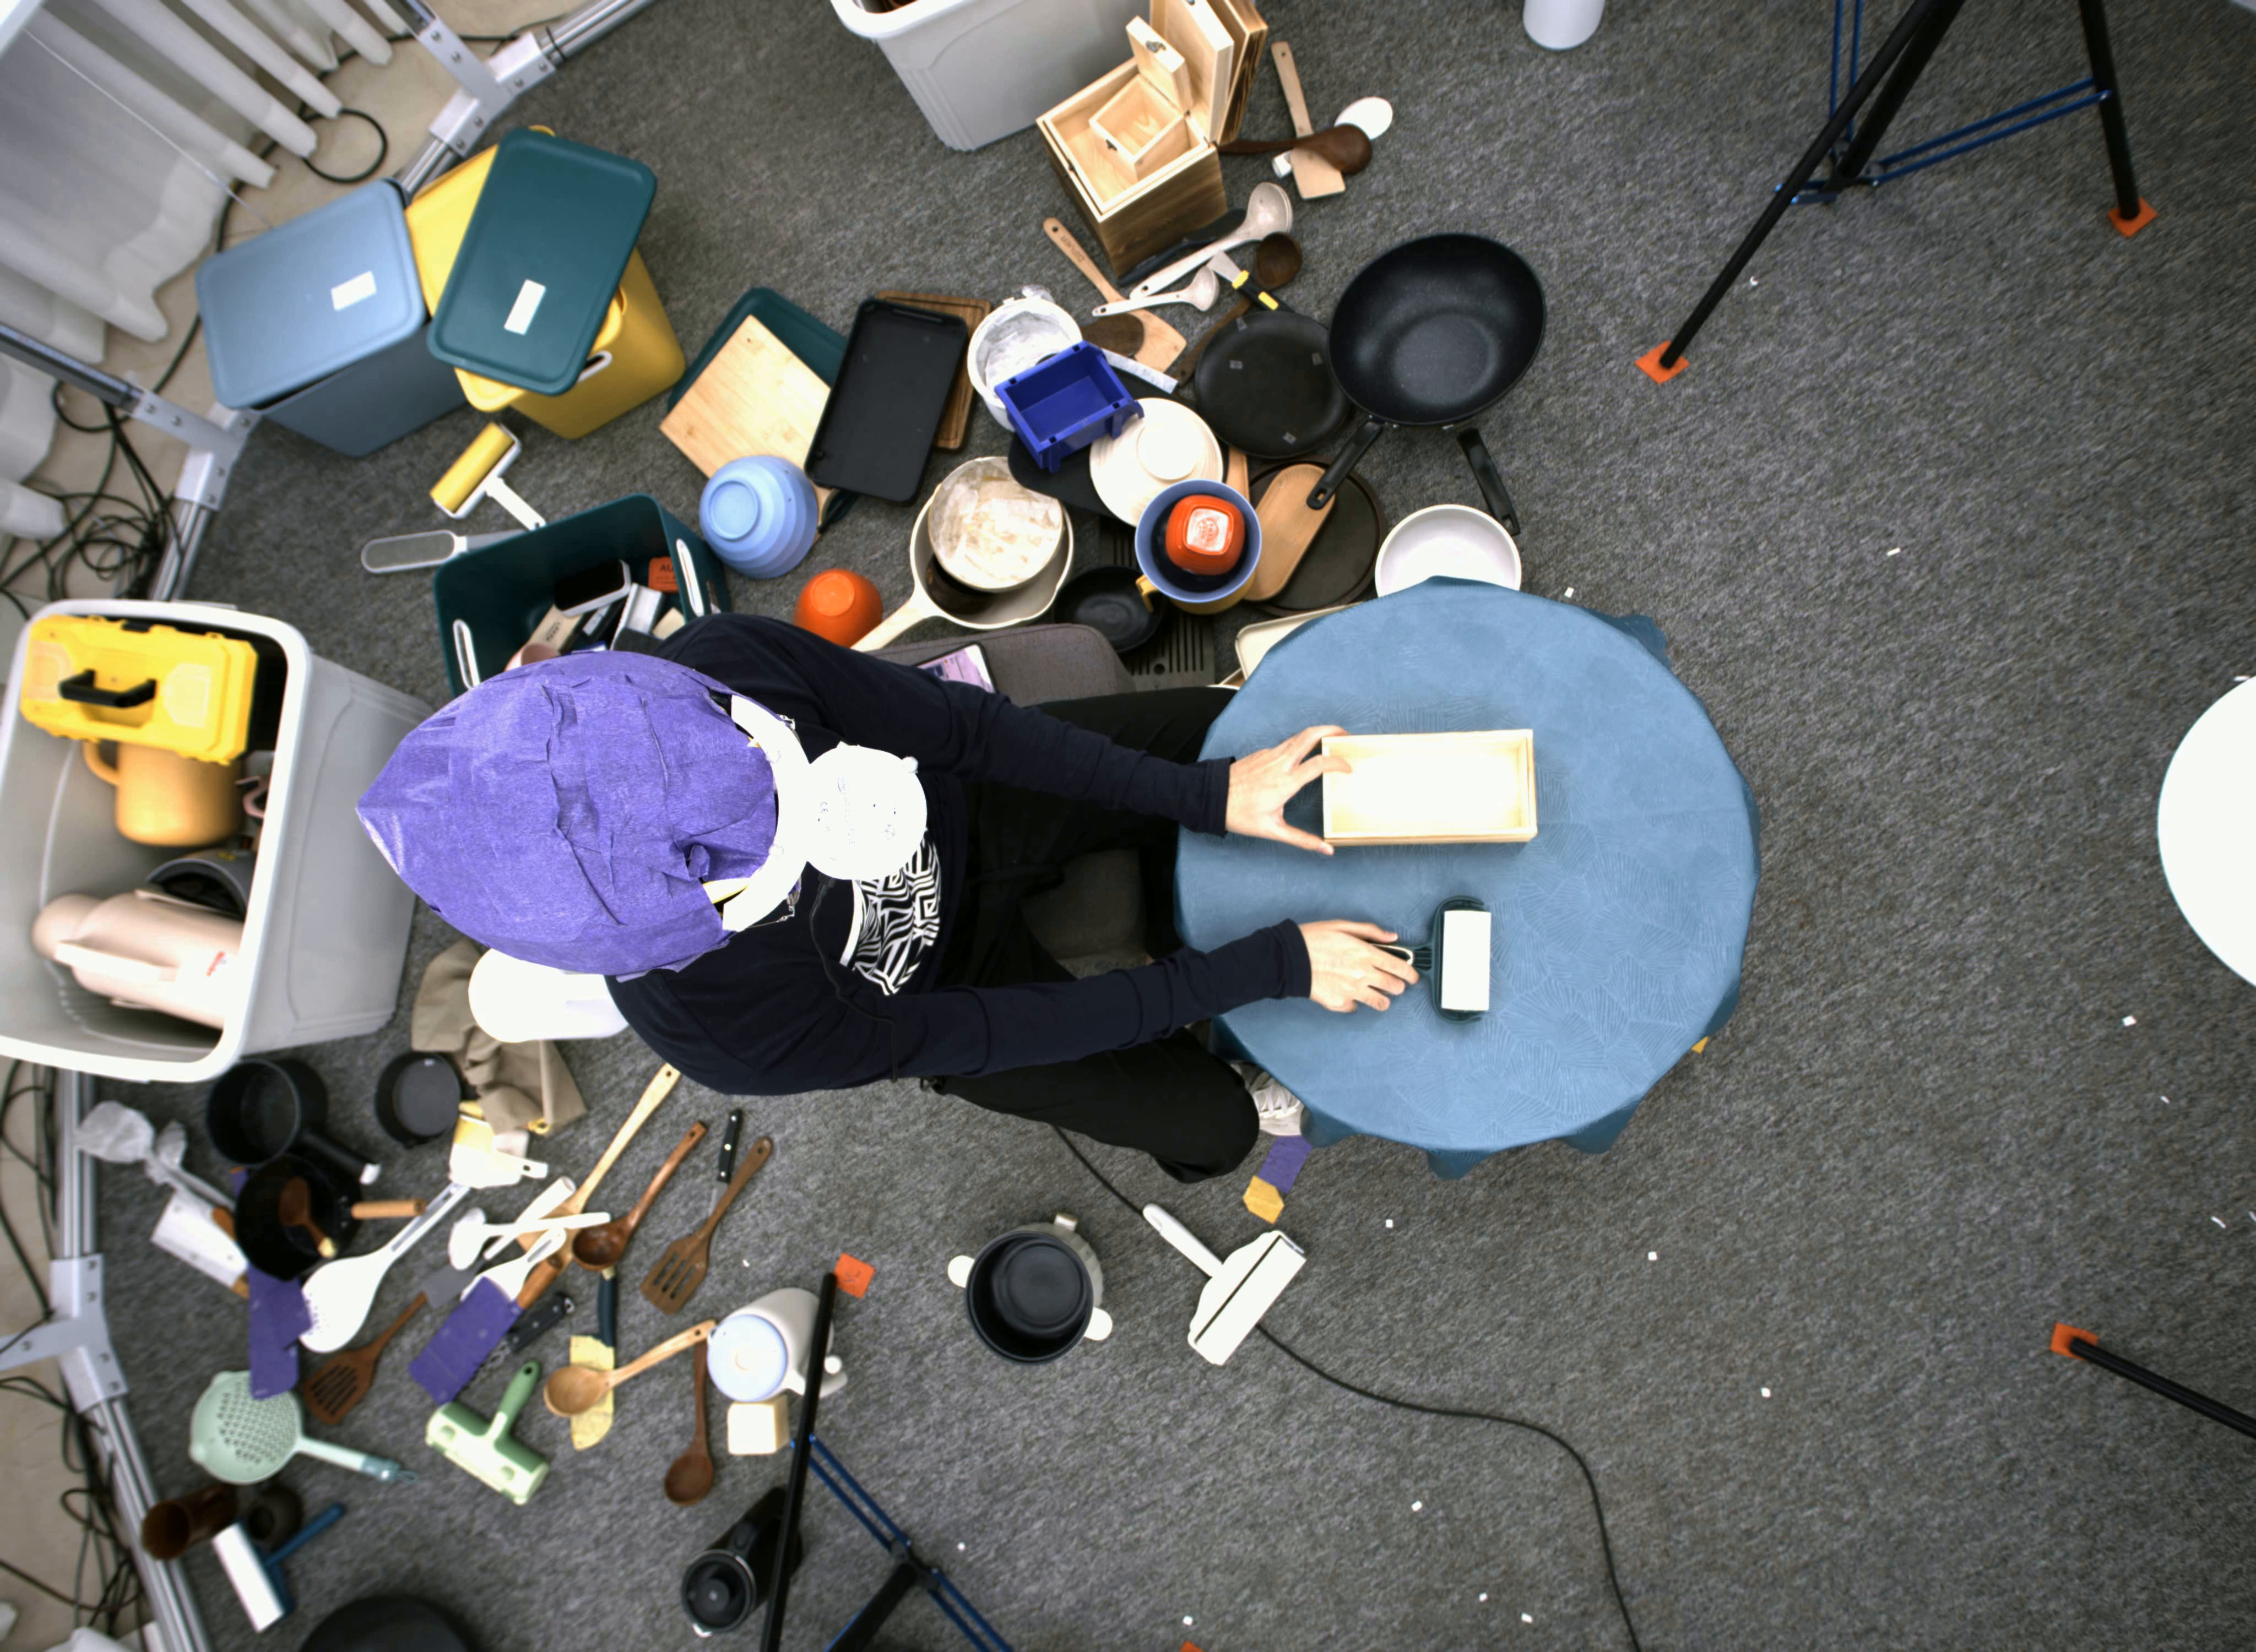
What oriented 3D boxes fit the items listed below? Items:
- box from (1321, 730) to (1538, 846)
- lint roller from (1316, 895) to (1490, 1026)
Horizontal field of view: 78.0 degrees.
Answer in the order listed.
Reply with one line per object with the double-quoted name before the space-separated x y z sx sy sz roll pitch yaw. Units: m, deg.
"box" 0.309 -0.039 1.419 0.212 0.080 0.107 -2 86 12
"lint roller" 0.283 0.136 1.435 0.181 0.048 0.134 1 87 15
